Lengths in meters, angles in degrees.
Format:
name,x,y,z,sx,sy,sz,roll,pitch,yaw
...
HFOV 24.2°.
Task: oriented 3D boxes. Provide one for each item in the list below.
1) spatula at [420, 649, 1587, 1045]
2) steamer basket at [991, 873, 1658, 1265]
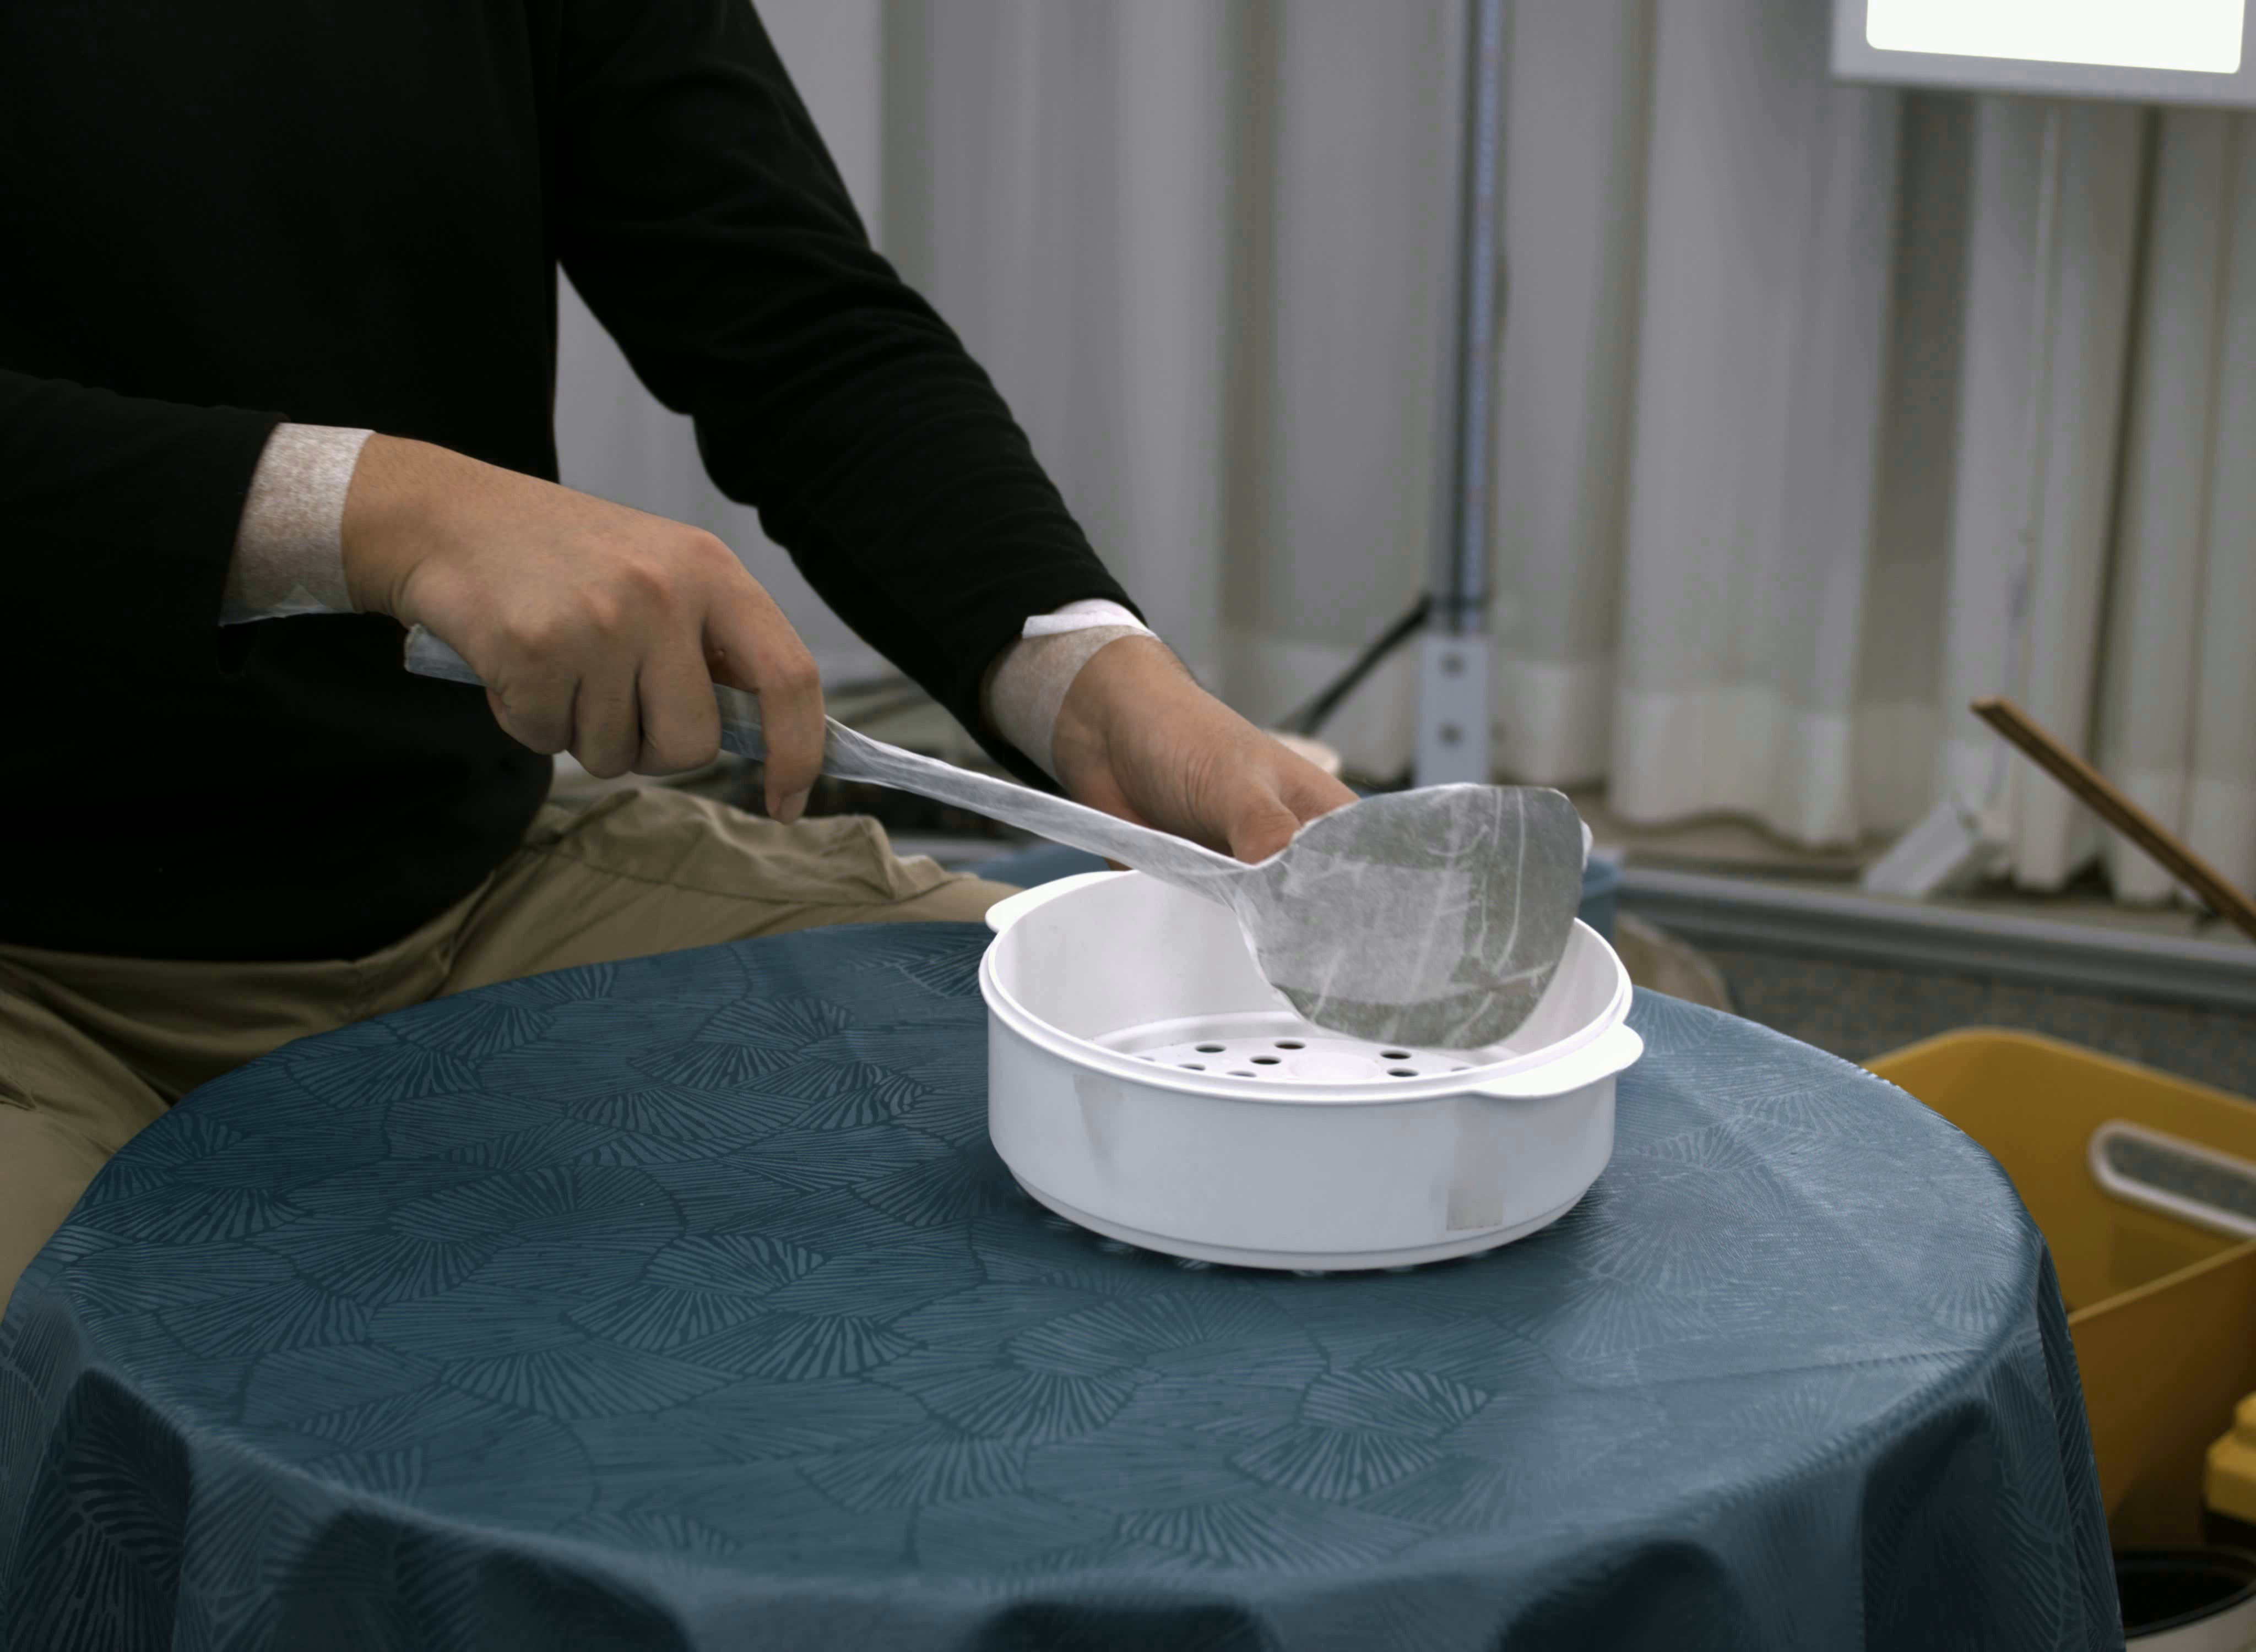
name,x,y,z,sx,sy,sz,roll,pitch,yaw
spatula,-0.038,-0.009,1.629,0.363,0.099,0.044,16,32,2
steamer basket,0.058,0.073,1.619,0.227,0.070,0.203,16,23,39
